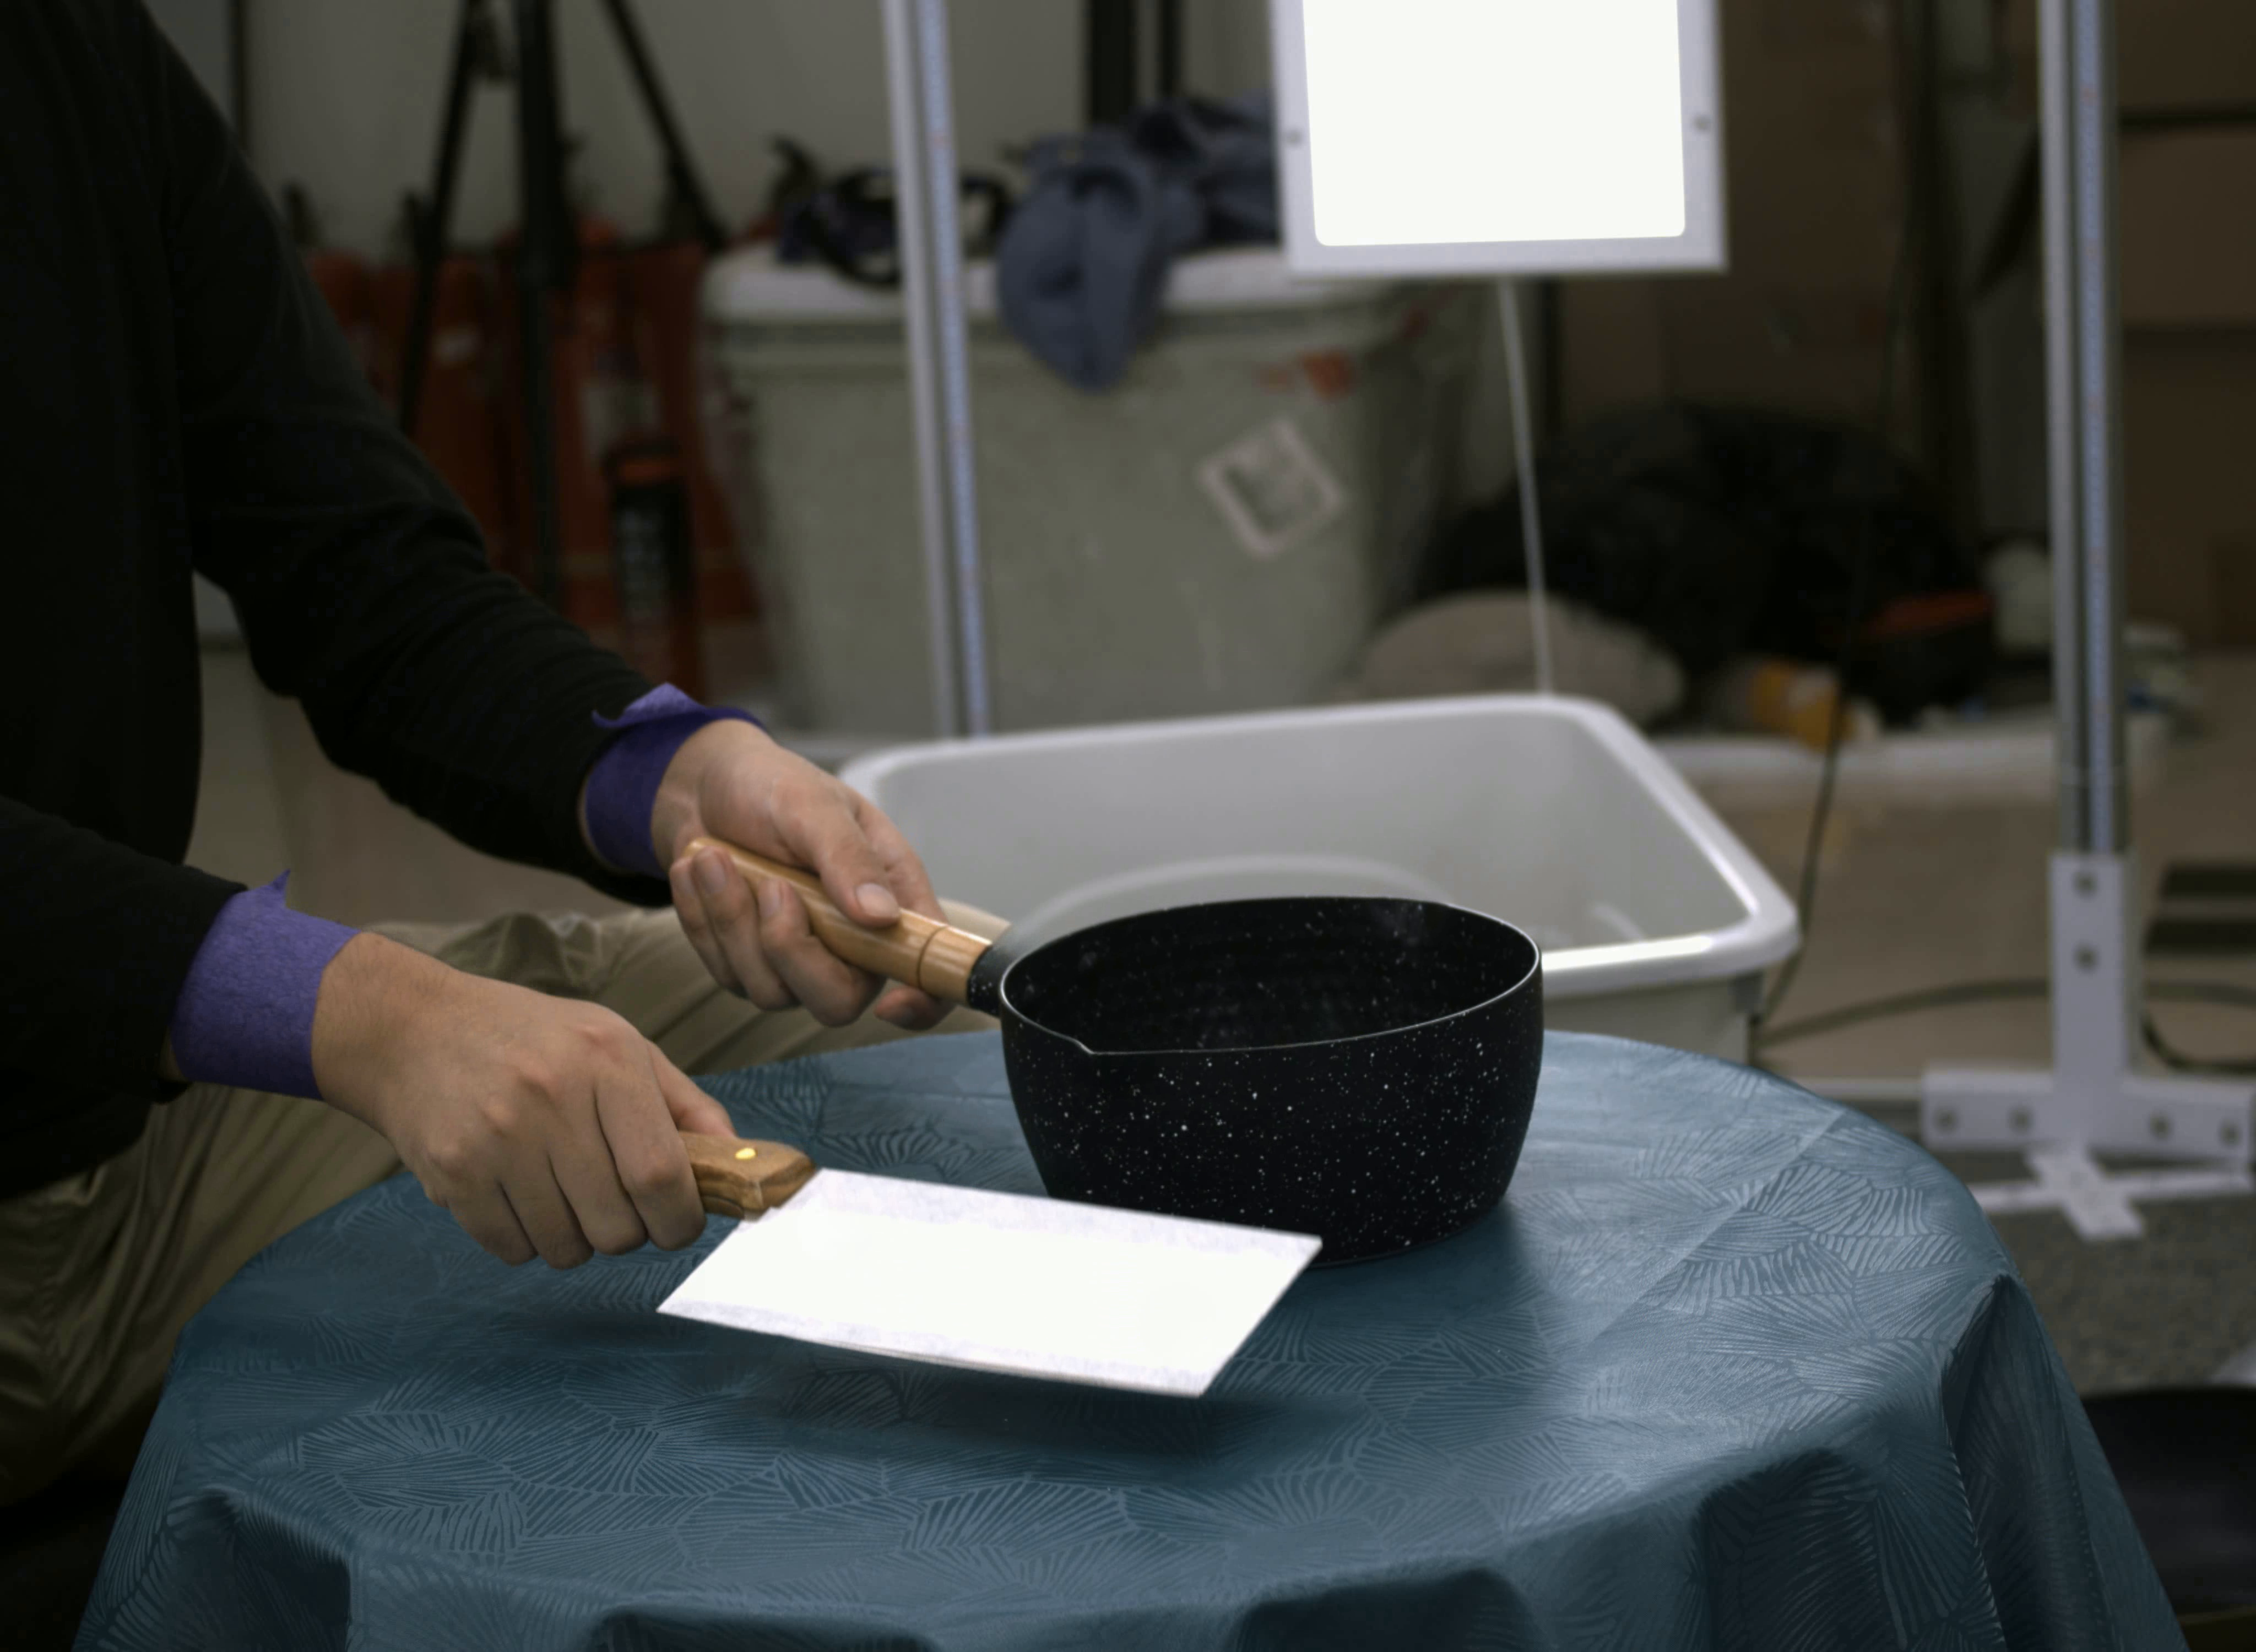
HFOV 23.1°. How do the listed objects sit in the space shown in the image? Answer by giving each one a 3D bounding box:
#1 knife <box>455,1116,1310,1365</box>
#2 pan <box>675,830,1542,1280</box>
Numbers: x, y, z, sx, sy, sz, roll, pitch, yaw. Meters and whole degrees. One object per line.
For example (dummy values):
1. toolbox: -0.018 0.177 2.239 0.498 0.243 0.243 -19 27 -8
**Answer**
1. knife: -0.093 0.132 1.726 0.311 0.021 0.091 5 31 29
2. pan: -0.018 0.071 1.902 0.349 0.108 0.202 7 18 34
